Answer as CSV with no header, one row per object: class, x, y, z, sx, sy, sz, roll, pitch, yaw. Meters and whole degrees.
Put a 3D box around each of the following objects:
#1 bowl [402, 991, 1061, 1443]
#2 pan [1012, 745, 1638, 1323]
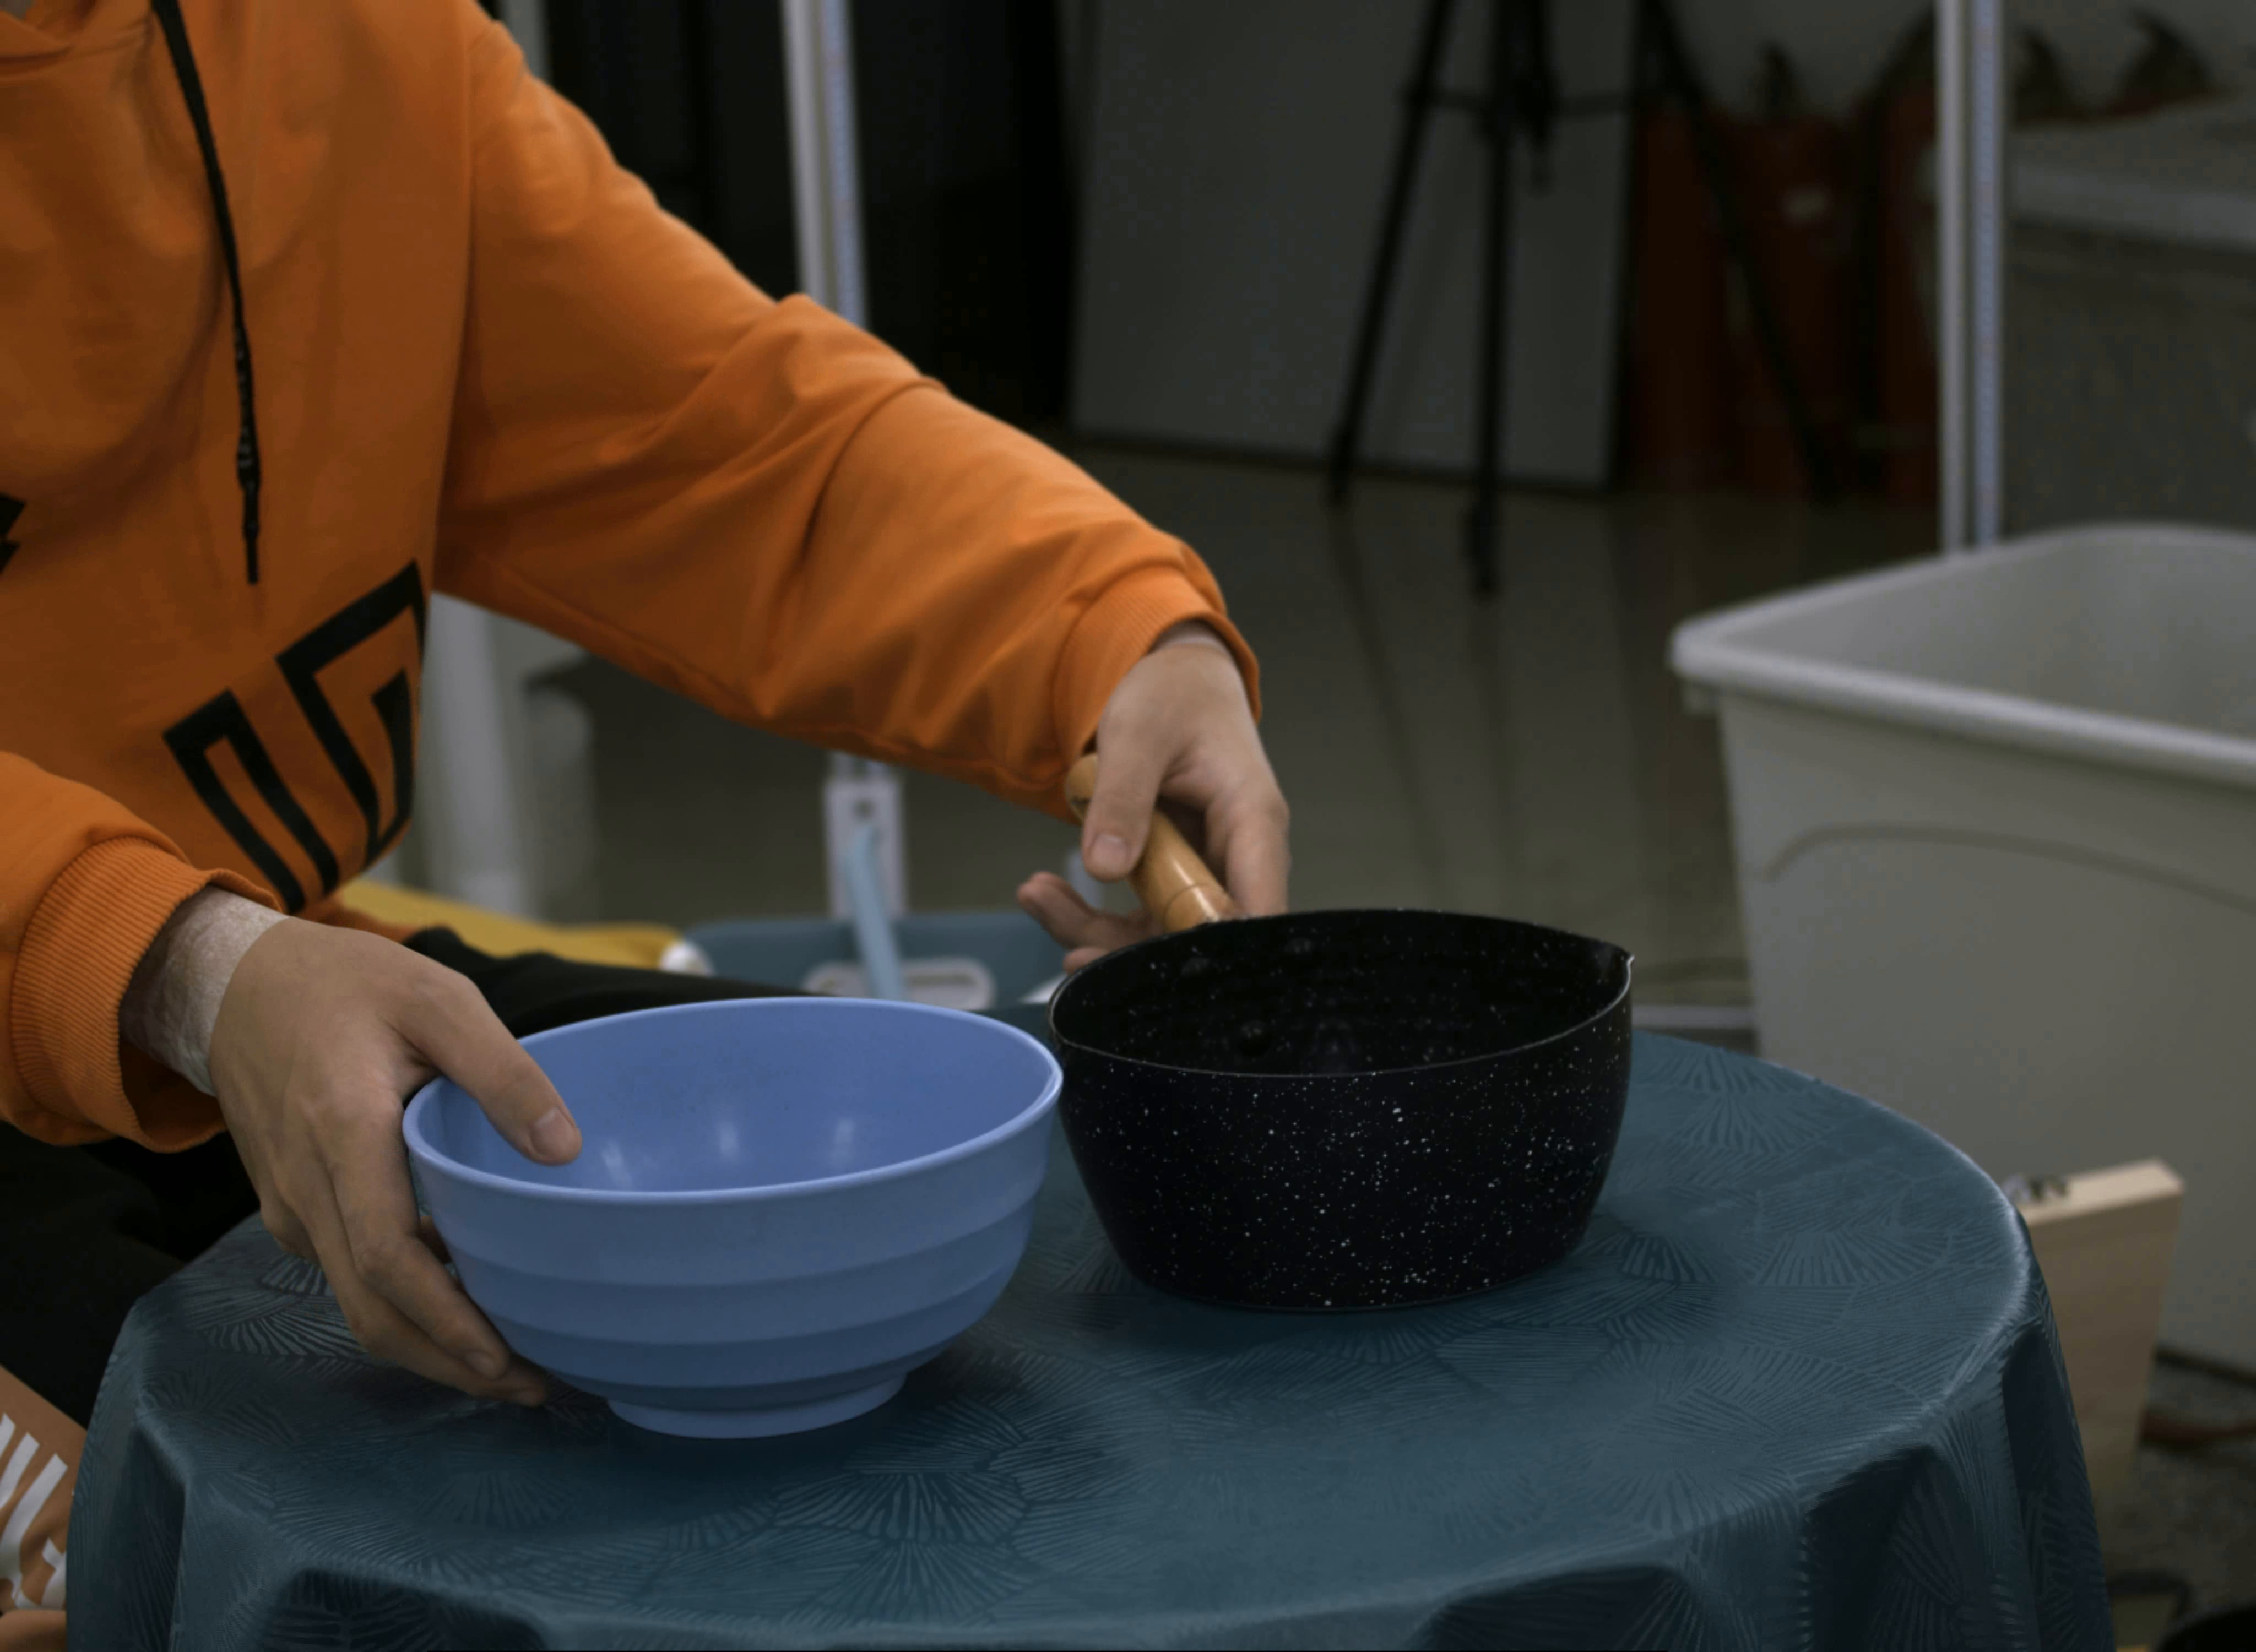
bowl,-0.113,0.122,1.601,0.194,0.096,0.197,-4,14,0
pan,0.043,0.062,1.770,0.203,0.109,0.346,-10,16,-16
